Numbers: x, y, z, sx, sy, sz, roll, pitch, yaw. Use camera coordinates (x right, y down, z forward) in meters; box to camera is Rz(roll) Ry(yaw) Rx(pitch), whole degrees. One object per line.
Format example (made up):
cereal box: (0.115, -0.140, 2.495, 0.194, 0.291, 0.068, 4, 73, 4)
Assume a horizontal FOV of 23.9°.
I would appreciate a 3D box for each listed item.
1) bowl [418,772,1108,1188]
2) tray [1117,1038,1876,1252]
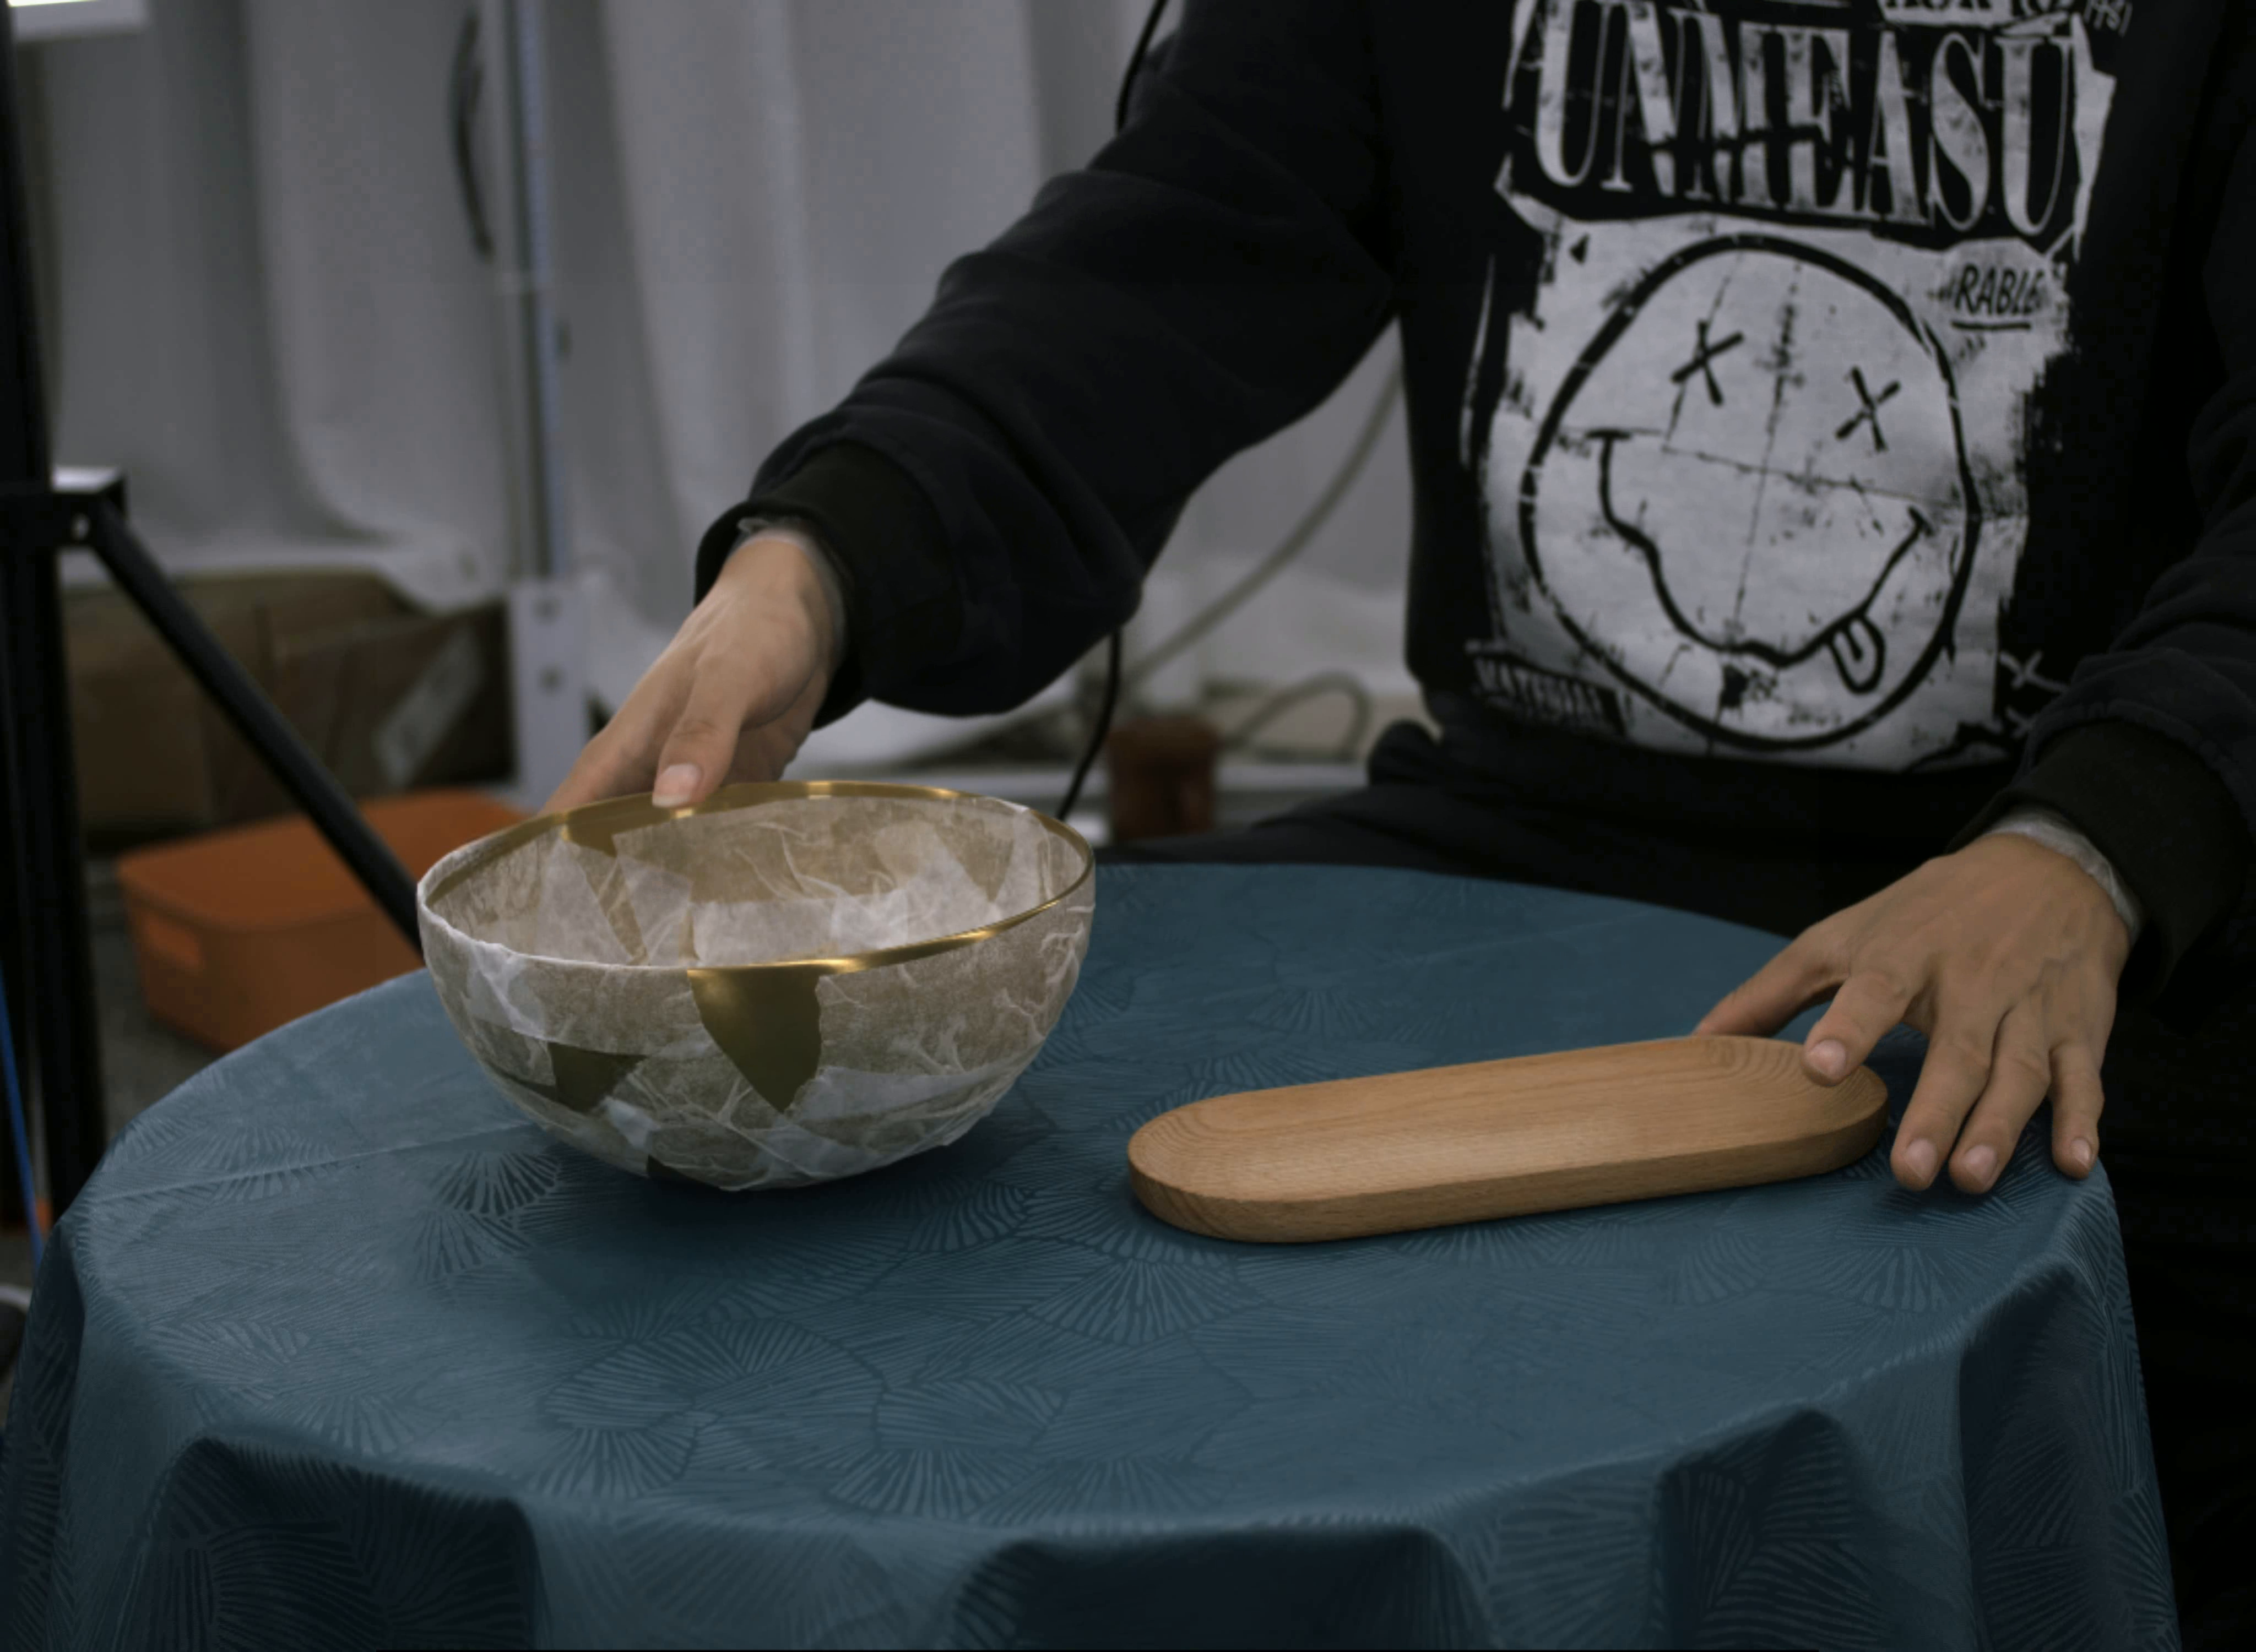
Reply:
bowl: (-0.104, 0.054, 1.595, 0.213, 0.094, 0.216, -3, 15, -1)
tray: (0.110, 0.094, 1.562, 0.228, 0.020, 0.103, -9, 14, -13)
